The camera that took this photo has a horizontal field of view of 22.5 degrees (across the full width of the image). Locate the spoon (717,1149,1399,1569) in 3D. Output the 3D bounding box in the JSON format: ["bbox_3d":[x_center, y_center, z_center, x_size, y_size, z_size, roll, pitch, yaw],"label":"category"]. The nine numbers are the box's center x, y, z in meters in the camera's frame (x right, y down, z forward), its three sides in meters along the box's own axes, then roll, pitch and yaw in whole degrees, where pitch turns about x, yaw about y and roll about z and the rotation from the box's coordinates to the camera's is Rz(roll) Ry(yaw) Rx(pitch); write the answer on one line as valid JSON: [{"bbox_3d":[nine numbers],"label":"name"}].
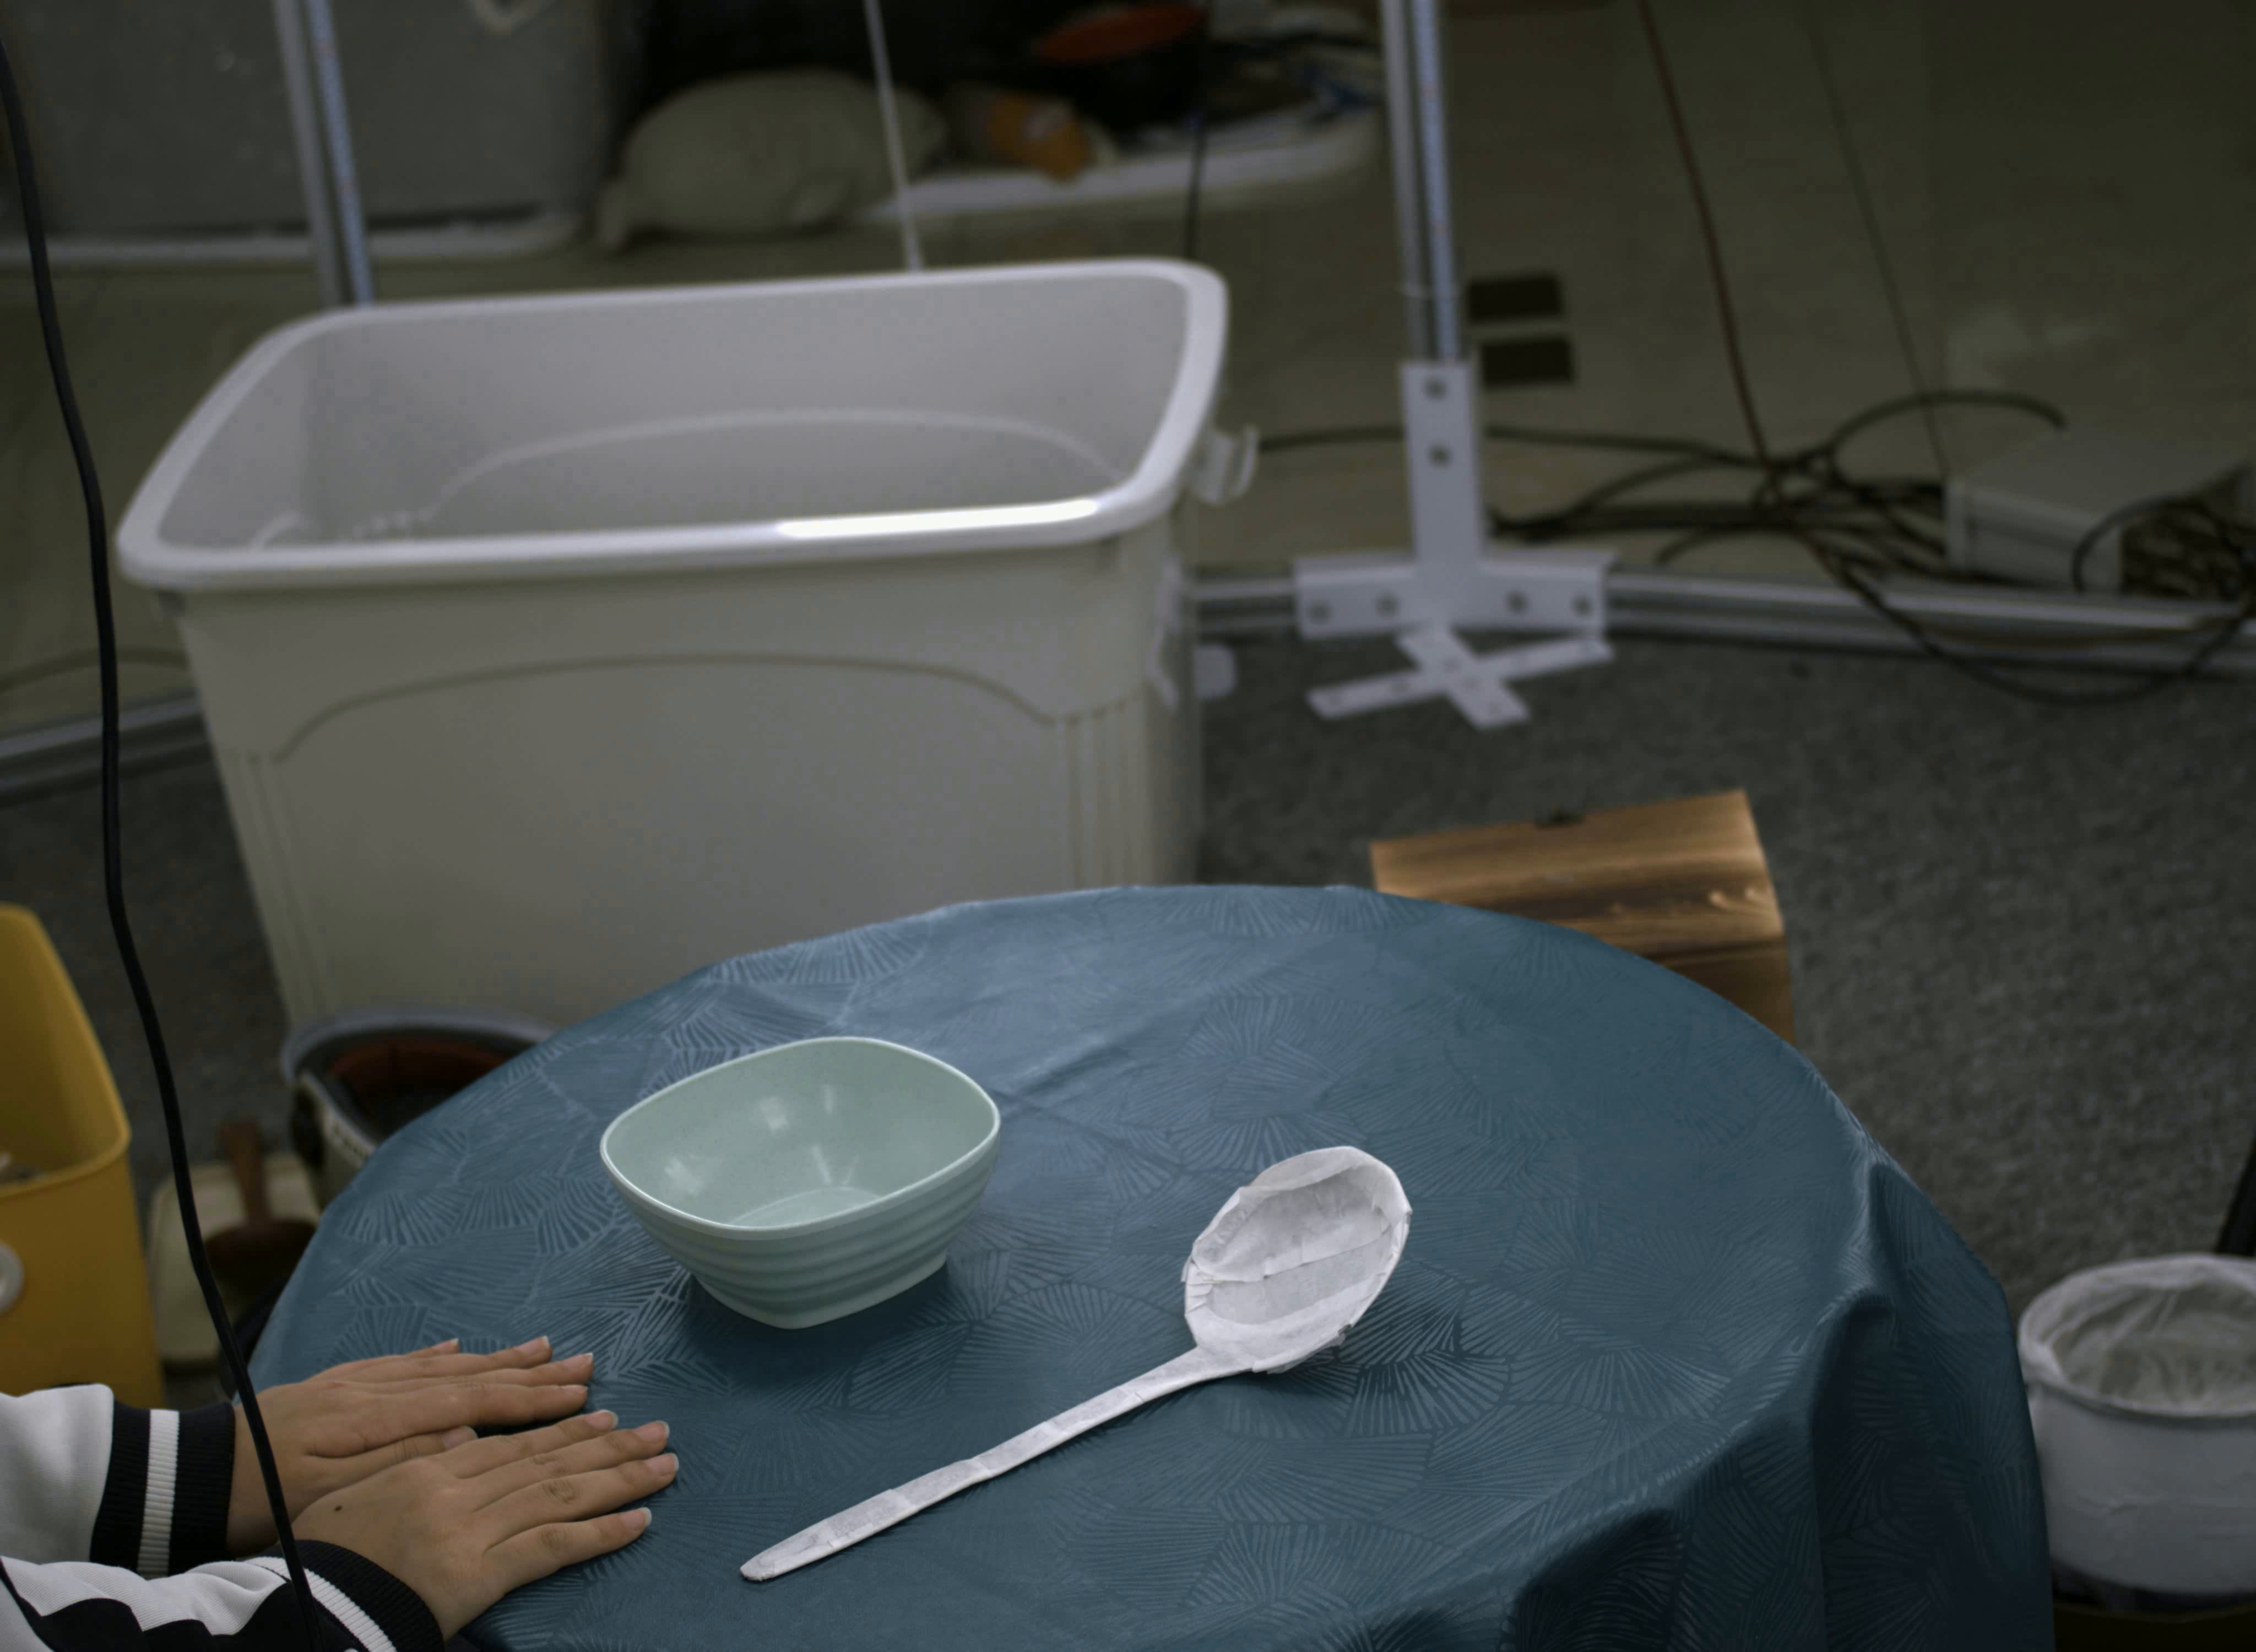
[{"bbox_3d":[-0.028,0.184,1.990,0.276,0.060,0.100,-19,23,-25],"label":"spoon"}]

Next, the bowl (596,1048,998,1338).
[{"bbox_3d":[-0.120,0.142,2.110,0.151,0.059,0.149,-5,24,3],"label":"bowl"}]
